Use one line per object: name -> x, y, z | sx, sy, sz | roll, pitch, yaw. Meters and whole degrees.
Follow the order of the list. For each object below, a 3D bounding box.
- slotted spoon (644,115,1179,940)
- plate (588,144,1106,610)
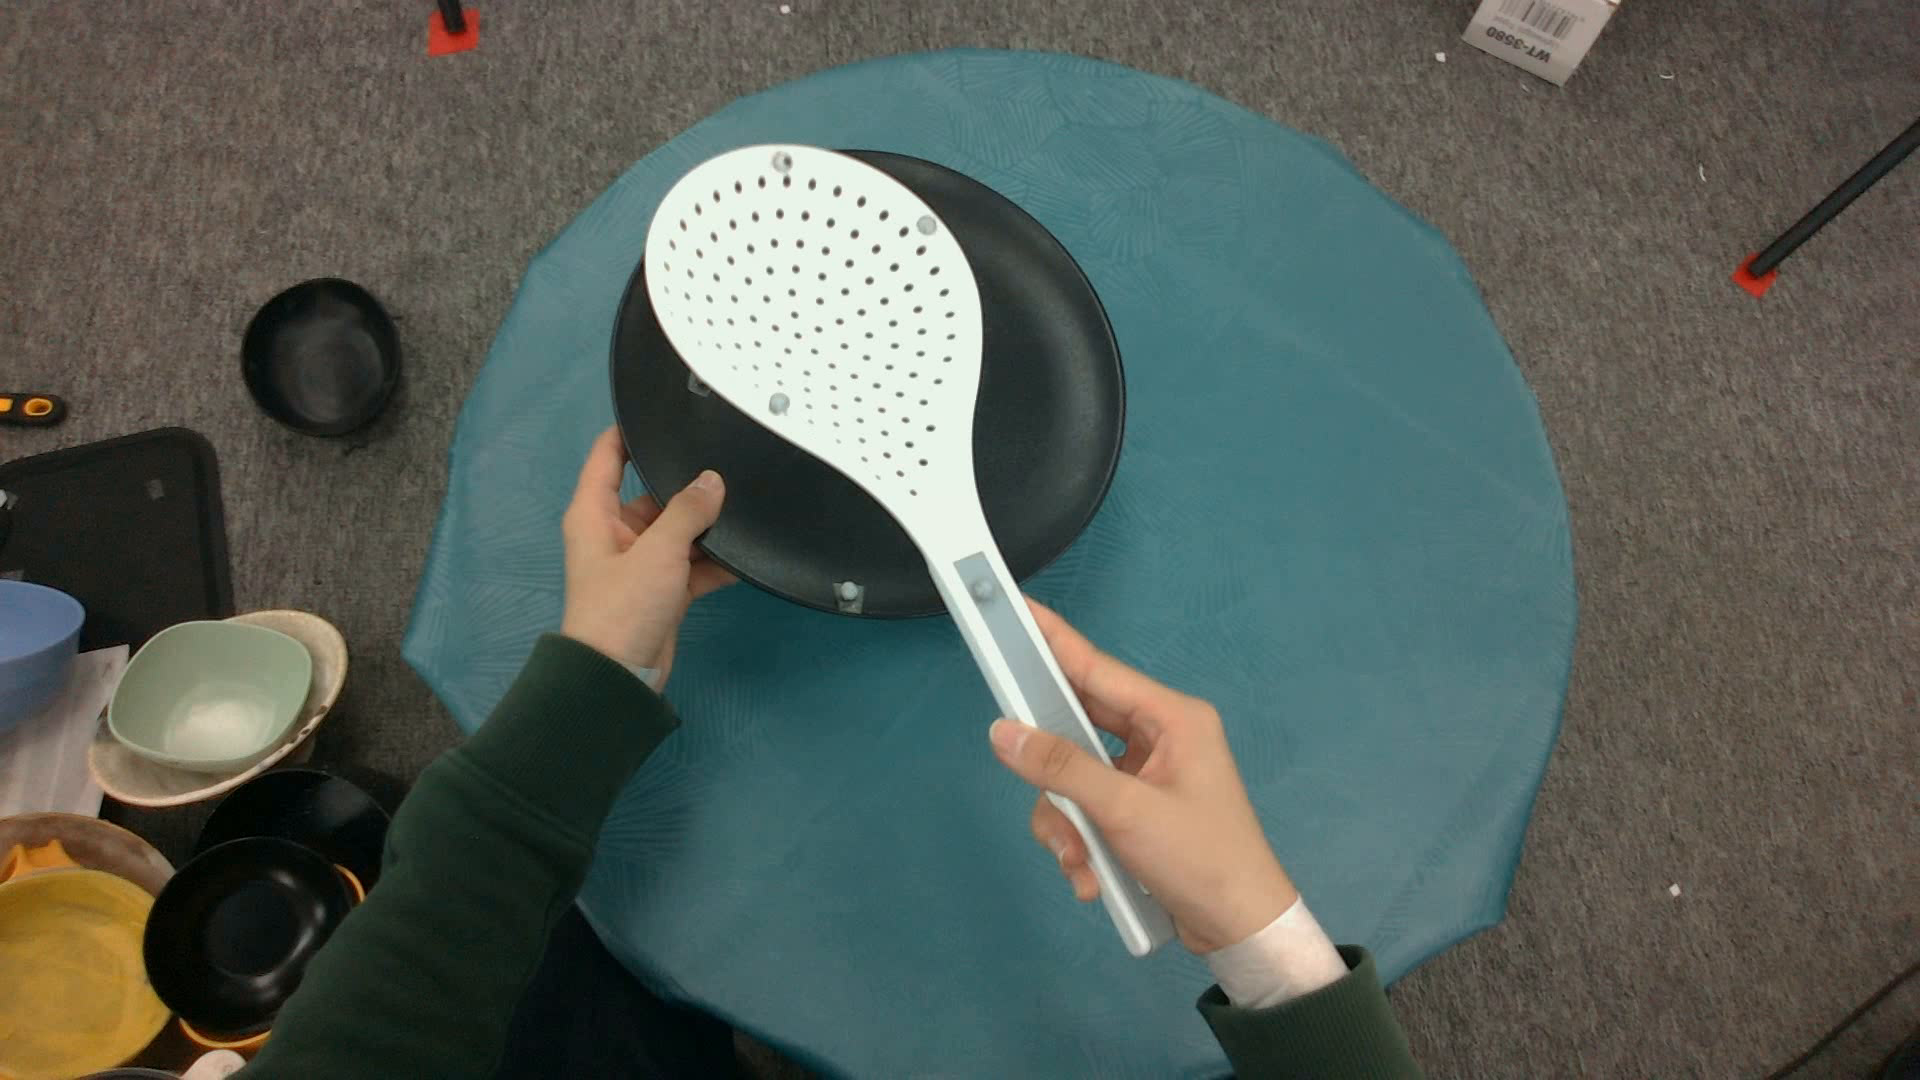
slotted spoon -> -0.009, -0.013, 0.527 | 0.136, 0.045, 0.350 | -21, 73, -30
plate -> -0.050, -0.080, 0.650 | 0.244, 0.023, 0.245 | 5, 69, -12
